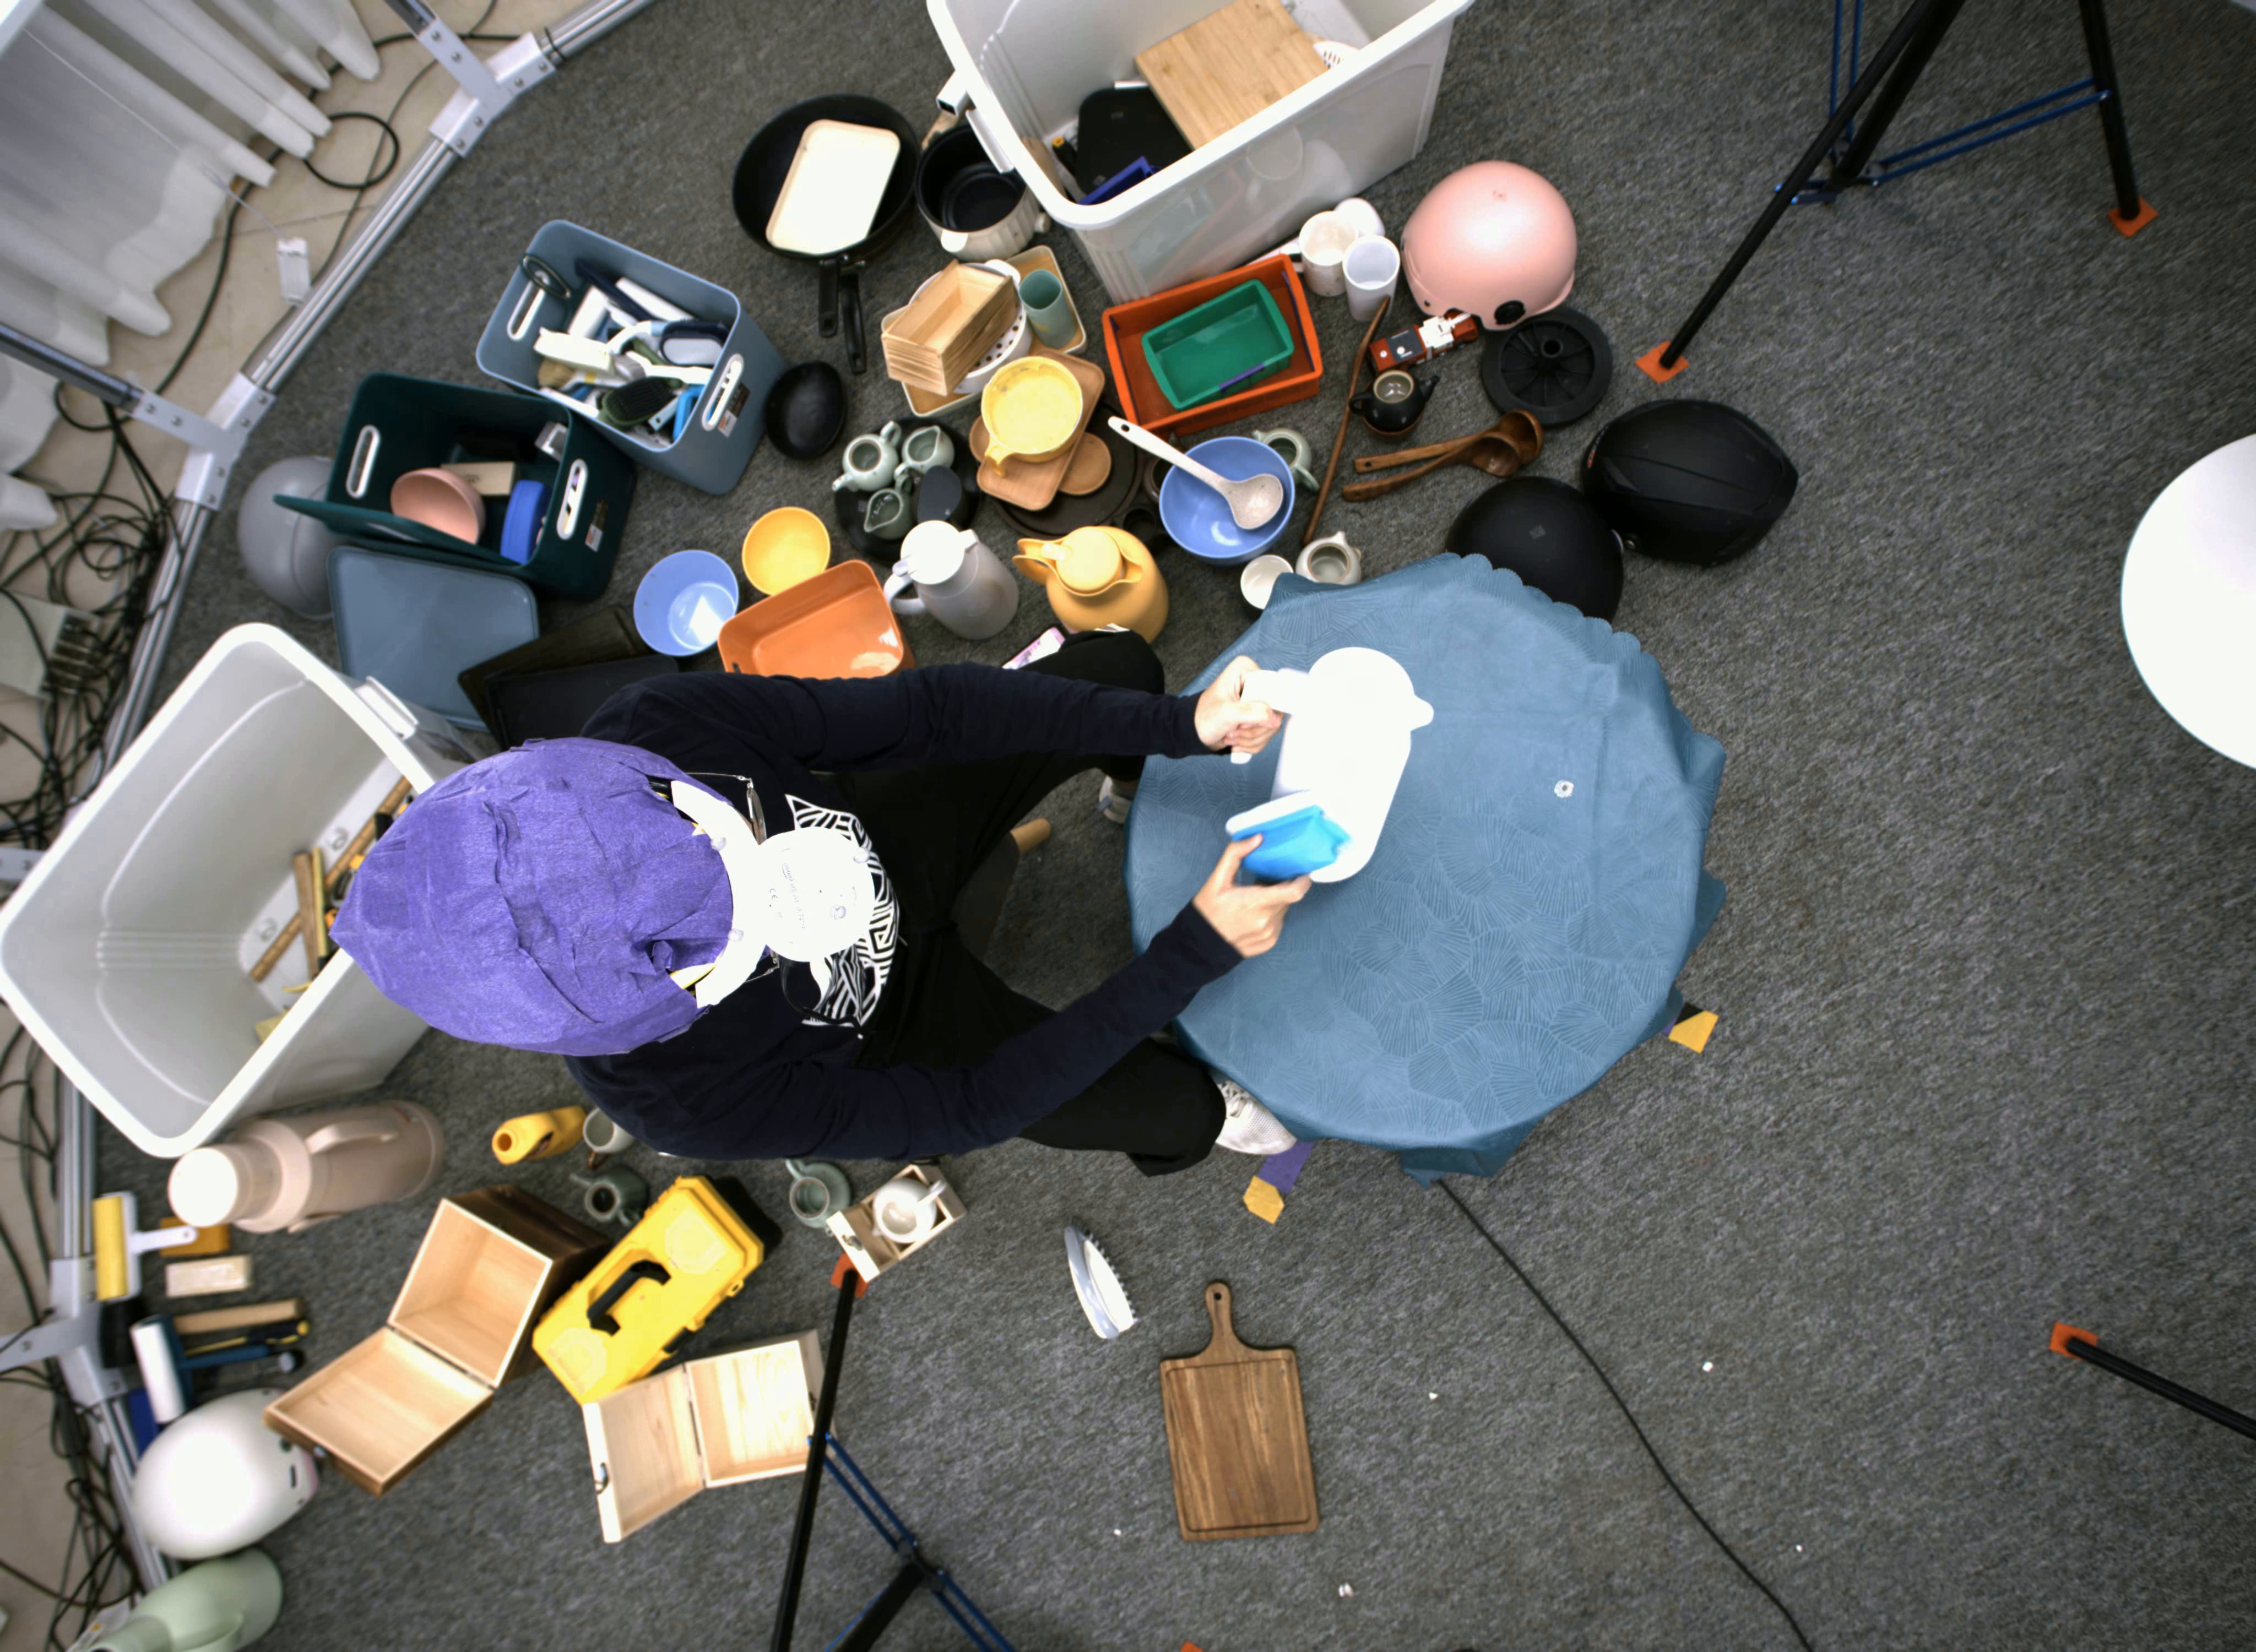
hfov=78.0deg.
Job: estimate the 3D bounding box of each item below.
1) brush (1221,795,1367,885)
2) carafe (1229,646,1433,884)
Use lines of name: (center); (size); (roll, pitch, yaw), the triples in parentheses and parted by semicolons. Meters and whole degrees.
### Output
brush: (0.151, 0.021, 1.307); (0.084, 0.146, 0.054); (44, 55, -23)
carafe: (0.183, -0.055, 1.326); (0.173, 0.274, 0.121); (12, 64, 6)
